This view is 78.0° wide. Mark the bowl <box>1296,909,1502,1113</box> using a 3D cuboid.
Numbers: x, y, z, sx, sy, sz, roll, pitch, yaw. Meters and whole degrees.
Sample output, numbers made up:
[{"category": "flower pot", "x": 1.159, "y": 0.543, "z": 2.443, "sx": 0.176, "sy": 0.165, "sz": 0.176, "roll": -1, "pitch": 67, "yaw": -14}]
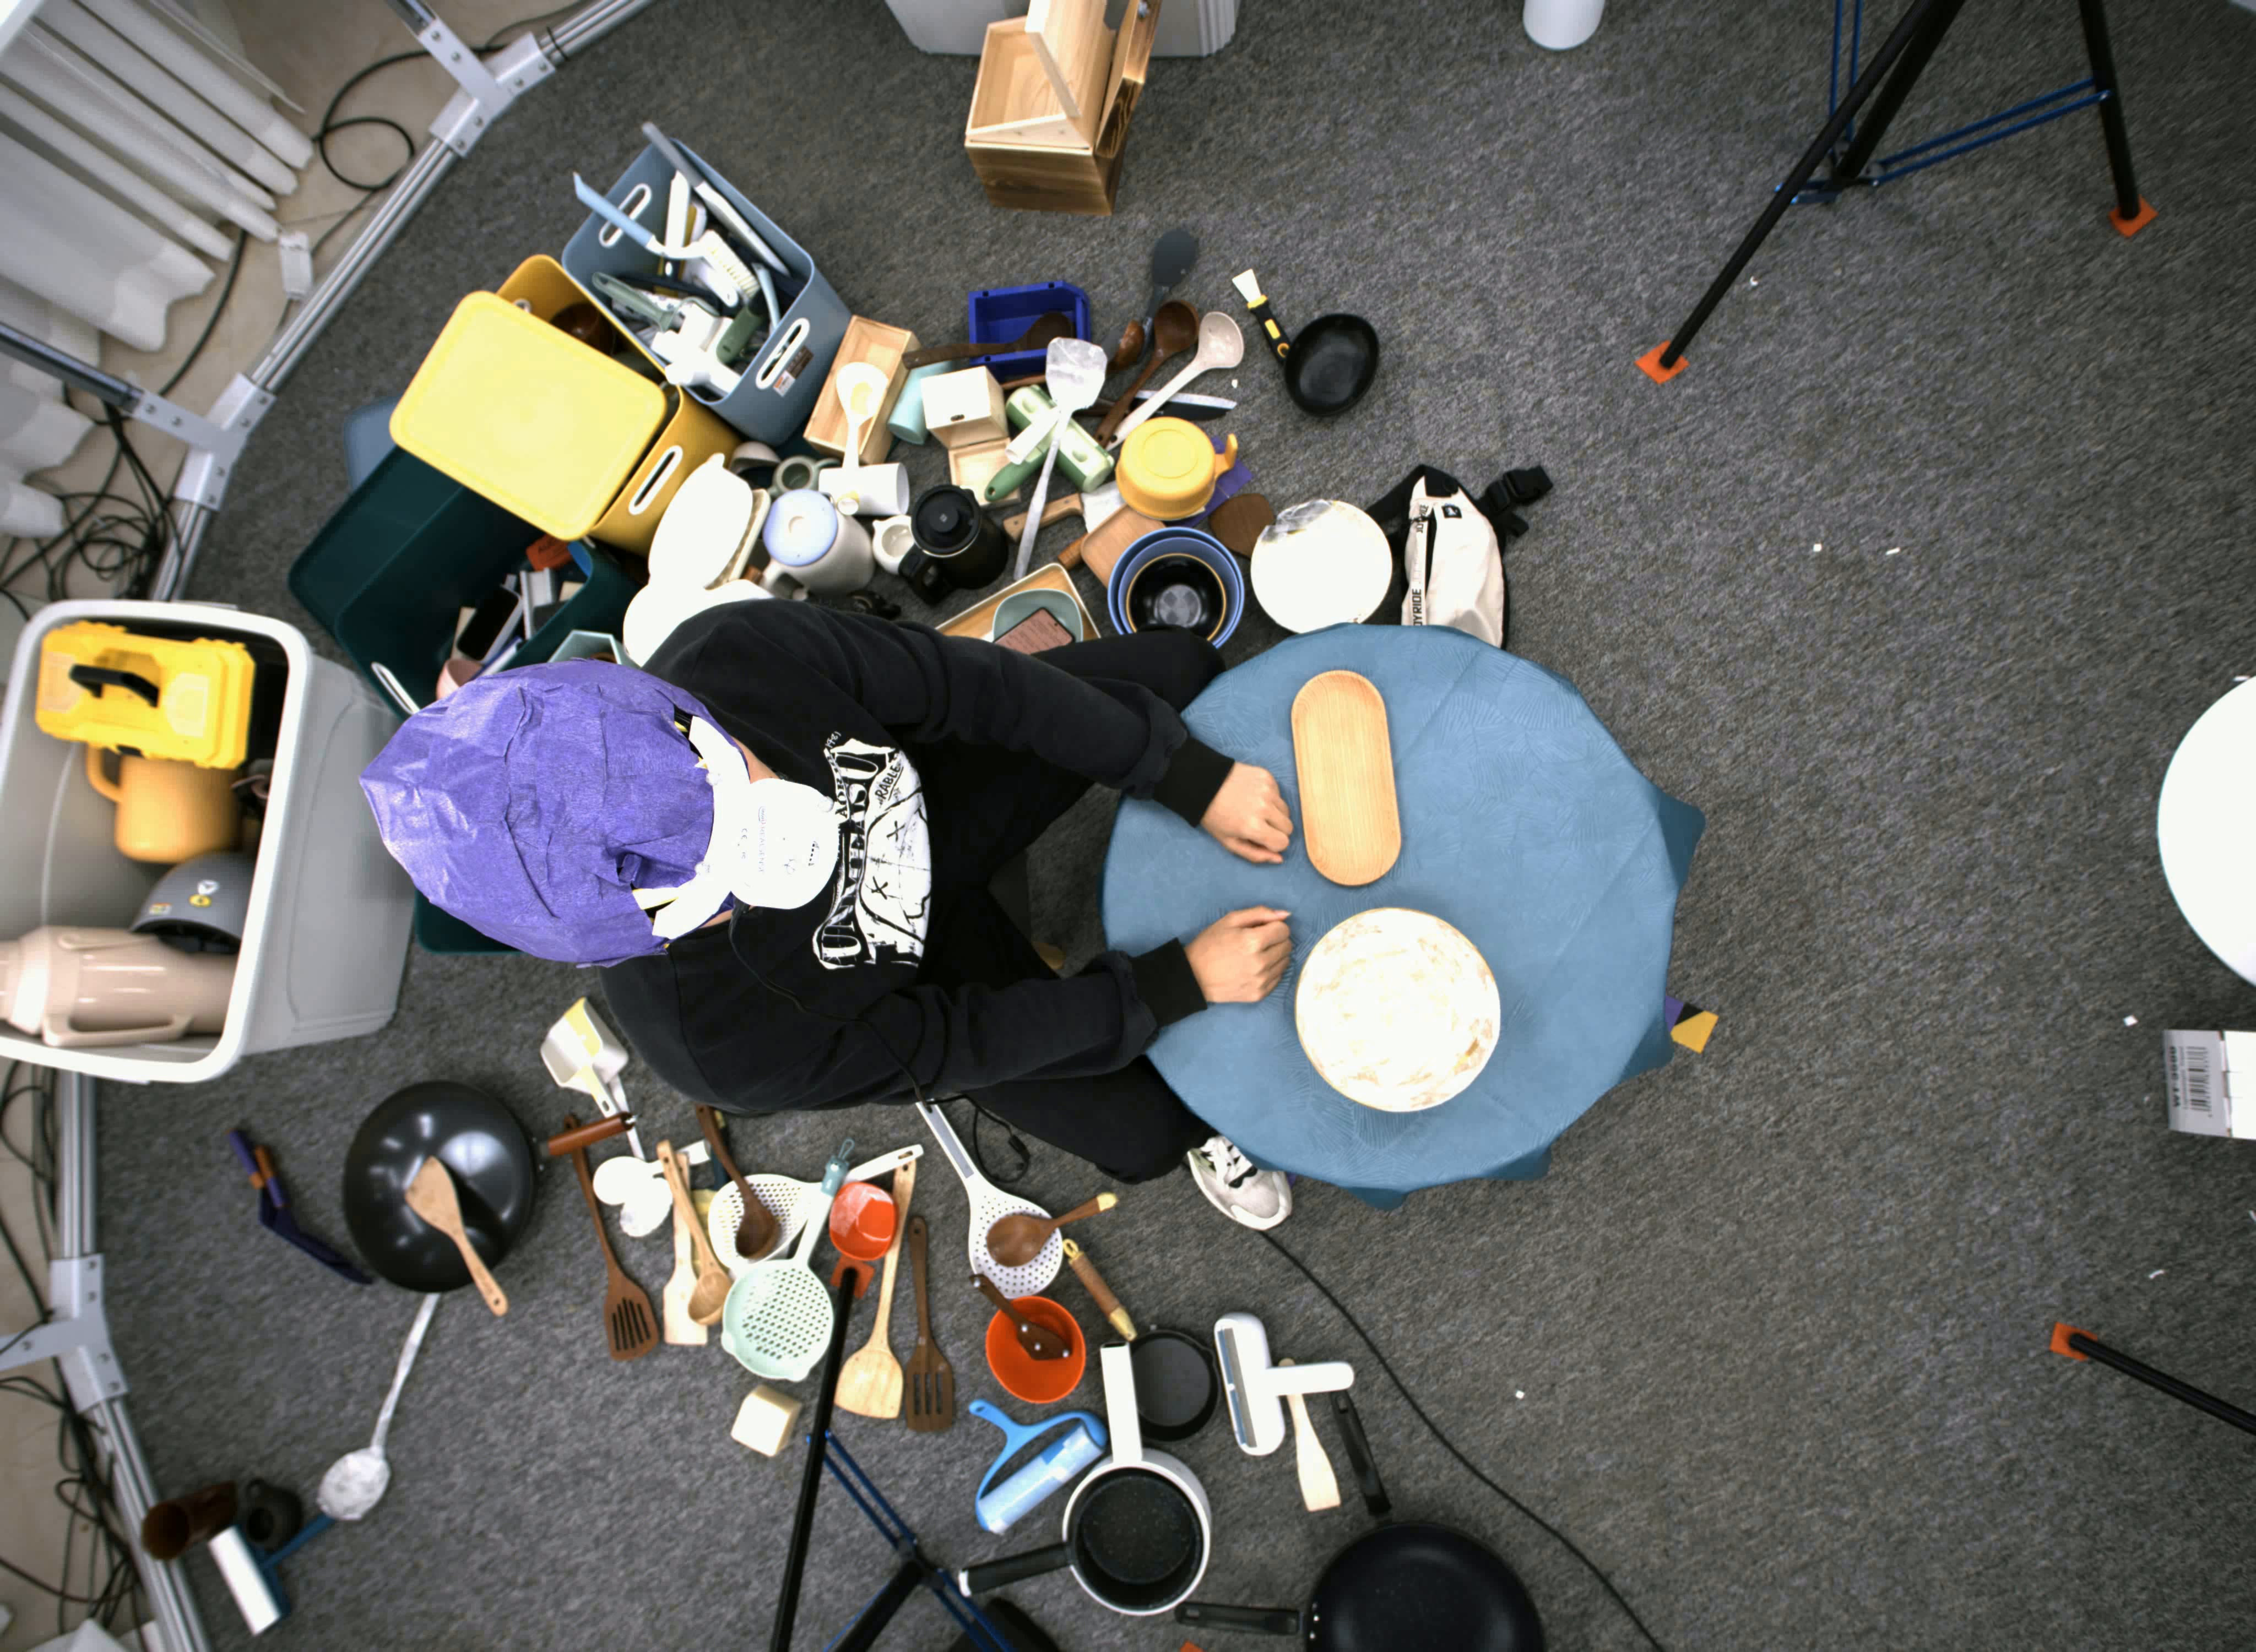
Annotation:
[{"category": "bowl", "x": 0.273, "y": 0.182, "z": 1.409, "sx": 0.215, "sy": 0.094, "sz": 0.214, "roll": -1, "pitch": 86, "yaw": 11}]

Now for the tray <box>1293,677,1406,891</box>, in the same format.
[{"category": "tray", "x": 0.236, "y": -0.046, "z": 1.471, "sx": 0.102, "sy": 0.020, "sz": 0.230, "roll": -8, "pitch": 87, "yaw": 12}]
